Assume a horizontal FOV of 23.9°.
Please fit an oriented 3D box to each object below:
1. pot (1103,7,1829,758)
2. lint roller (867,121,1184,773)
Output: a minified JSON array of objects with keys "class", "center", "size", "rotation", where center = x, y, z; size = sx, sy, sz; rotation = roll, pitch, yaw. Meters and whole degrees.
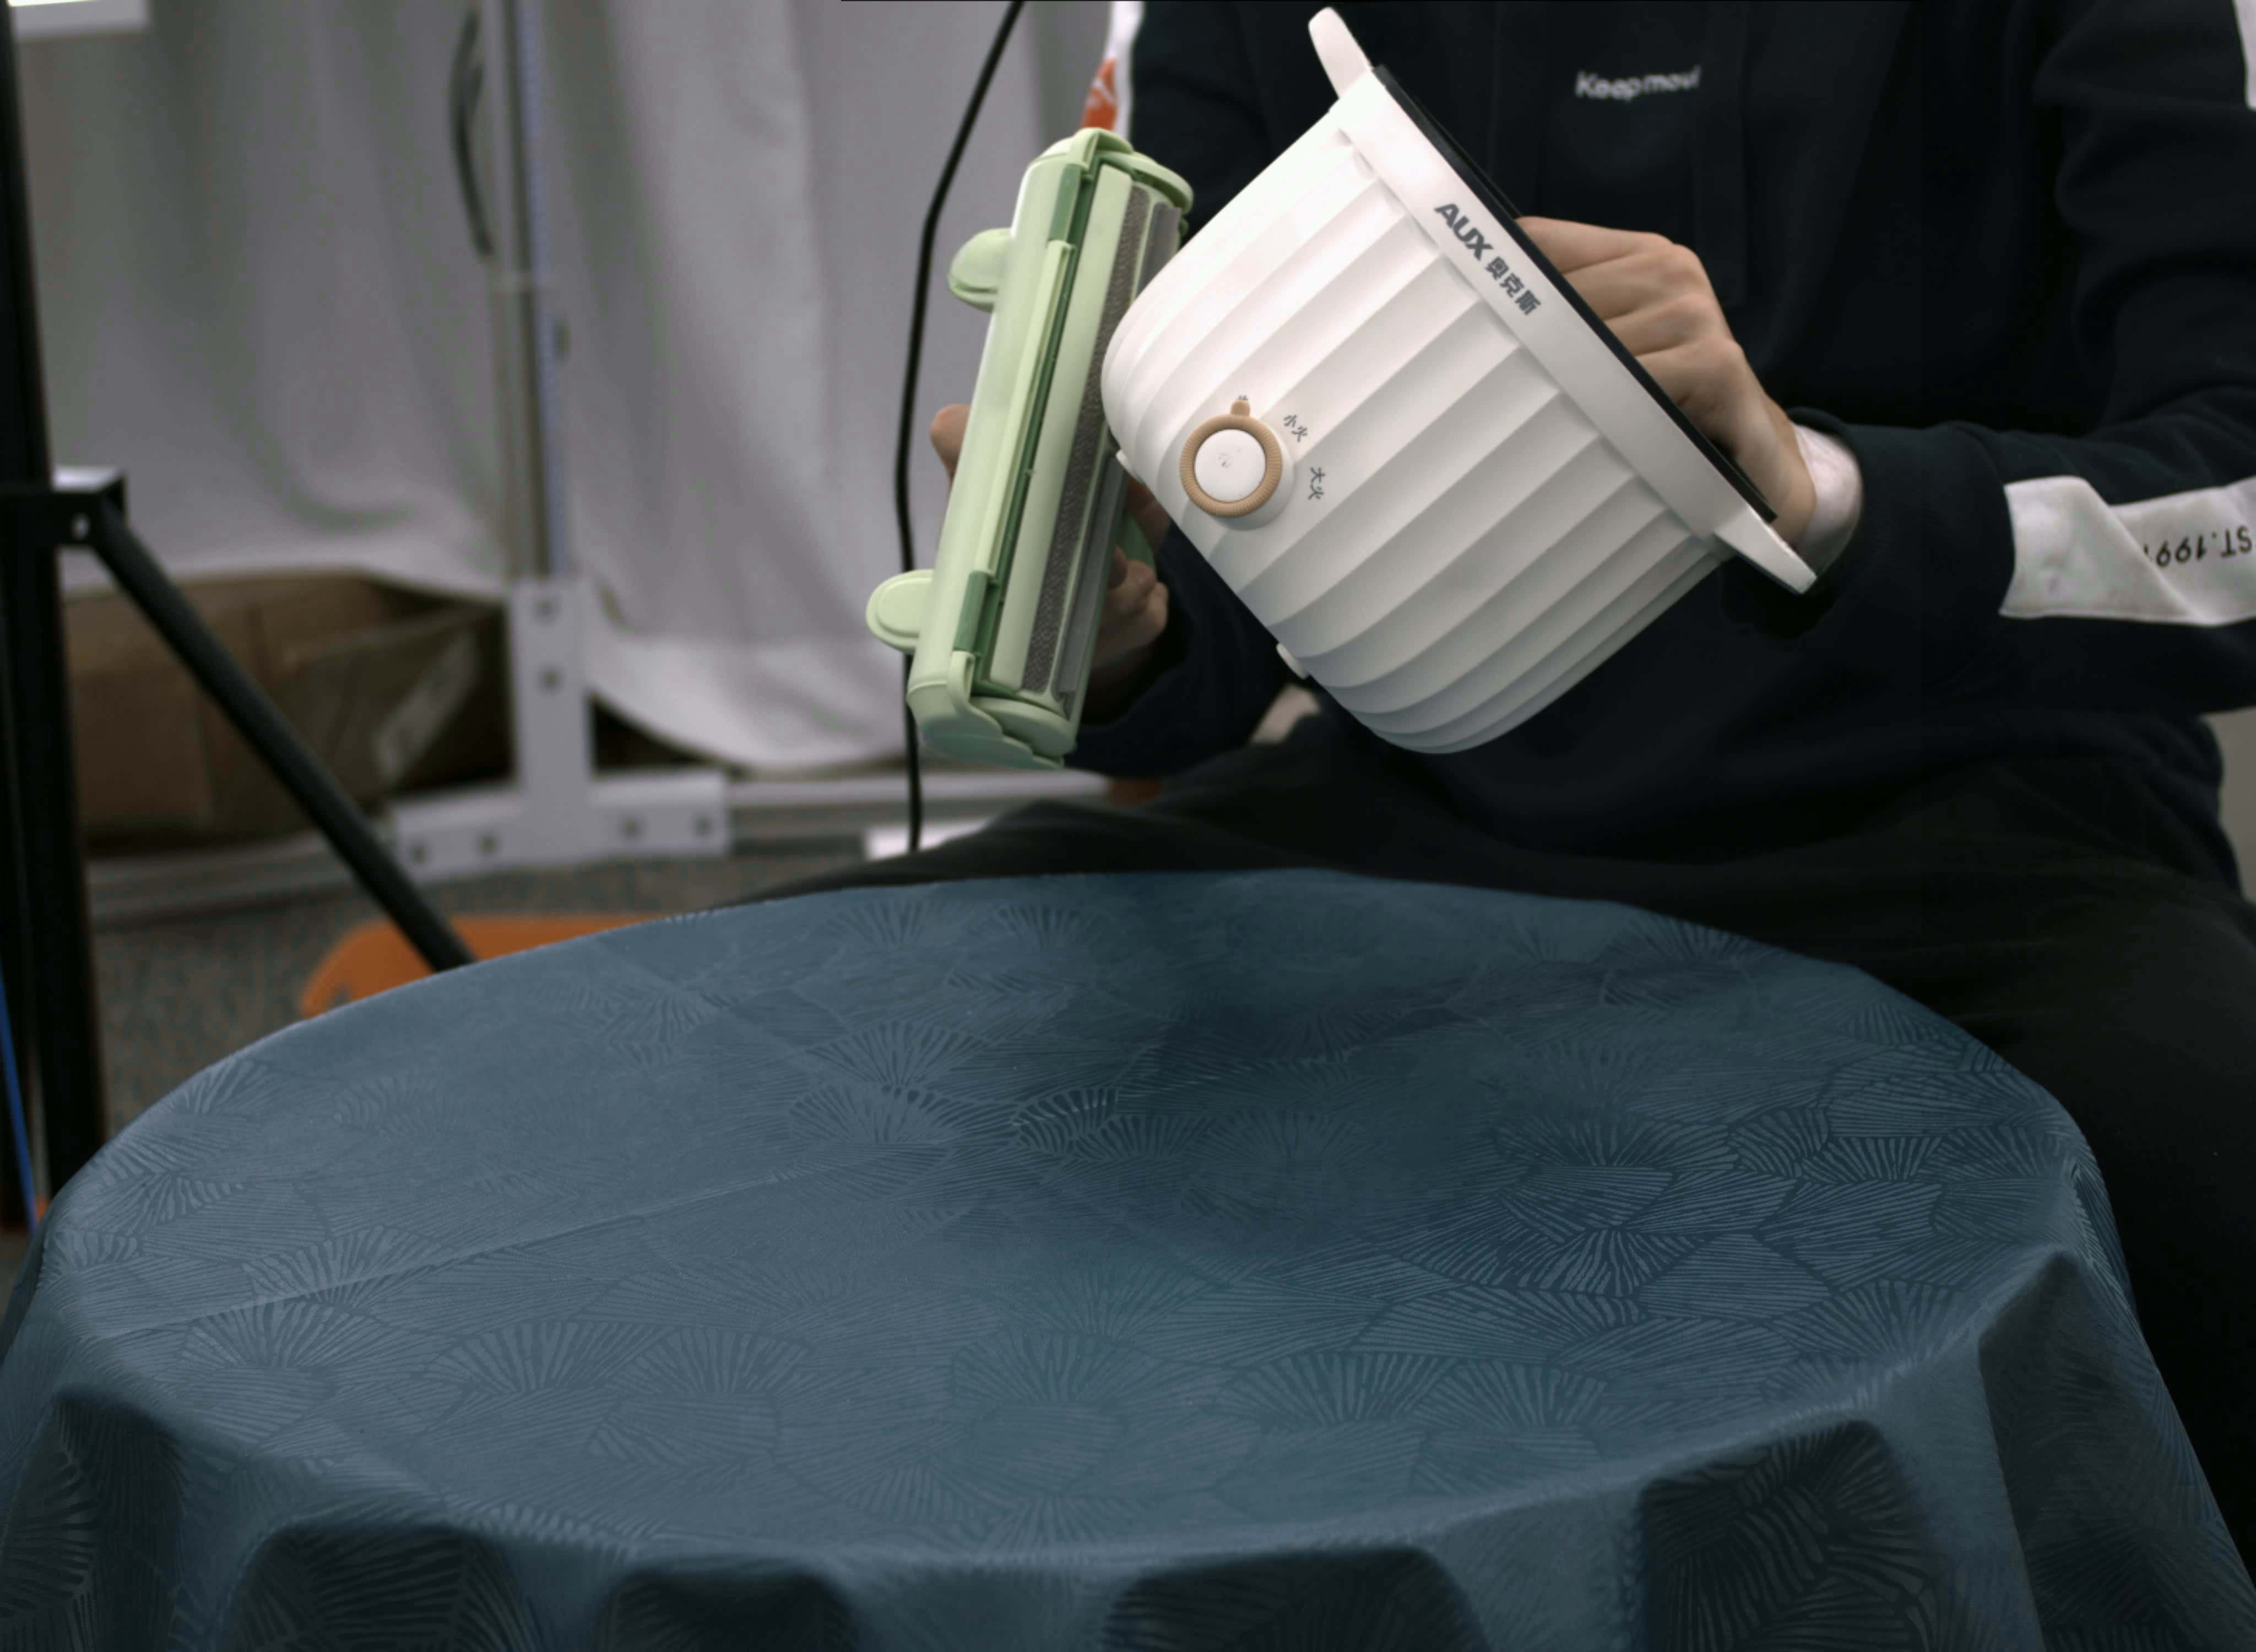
[{"class":"pot","center":[0.085,-0.116,1.593],"size":[0.143,0.243,0.188],"rotation":[-41,-16,5]},{"class":"lint roller","center":[-0.032,-0.102,1.704],"size":[0.082,0.200,0.182],"rotation":[11,-16,2]}]
